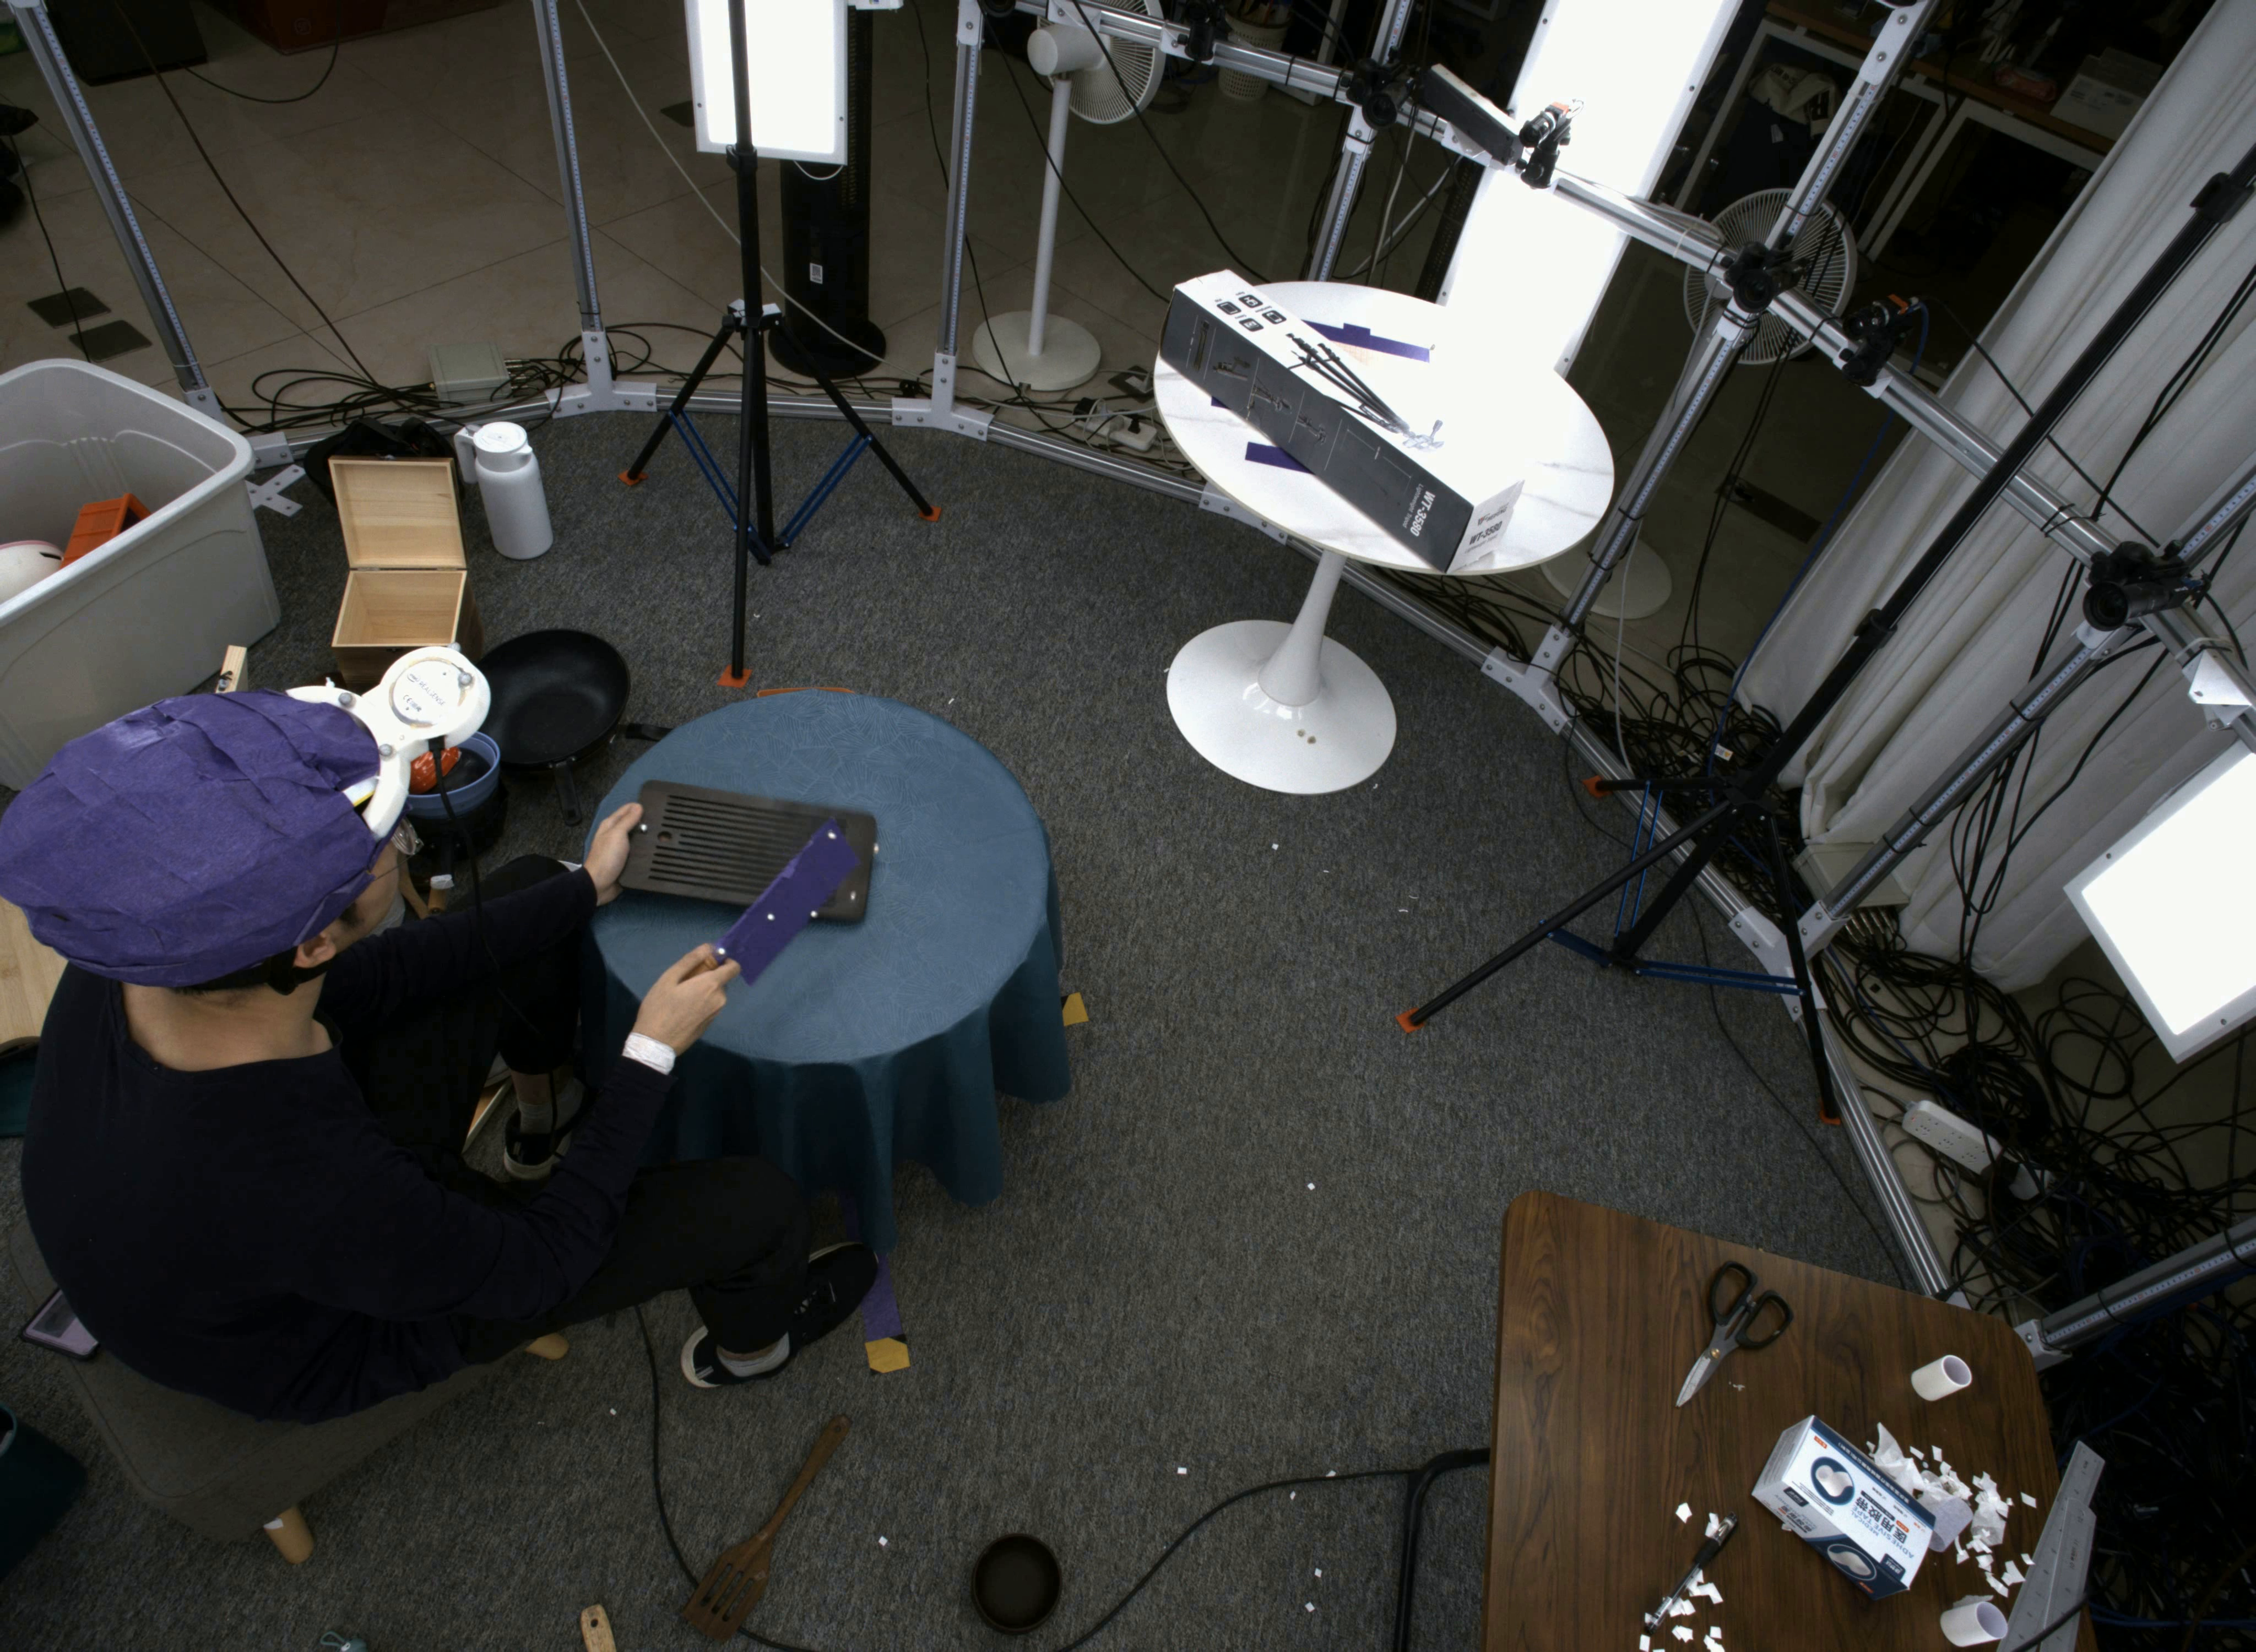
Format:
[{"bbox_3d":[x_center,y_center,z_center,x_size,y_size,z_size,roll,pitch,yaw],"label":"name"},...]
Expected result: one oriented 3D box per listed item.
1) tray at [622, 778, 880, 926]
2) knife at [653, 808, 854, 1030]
[{"bbox_3d":[-0.481,0.033,1.664,0.307,0.019,0.167,11,53,-14],"label":"tray"},{"bbox_3d":[-0.425,0.121,1.511,0.031,0.108,0.314,21,59,29],"label":"knife"}]
